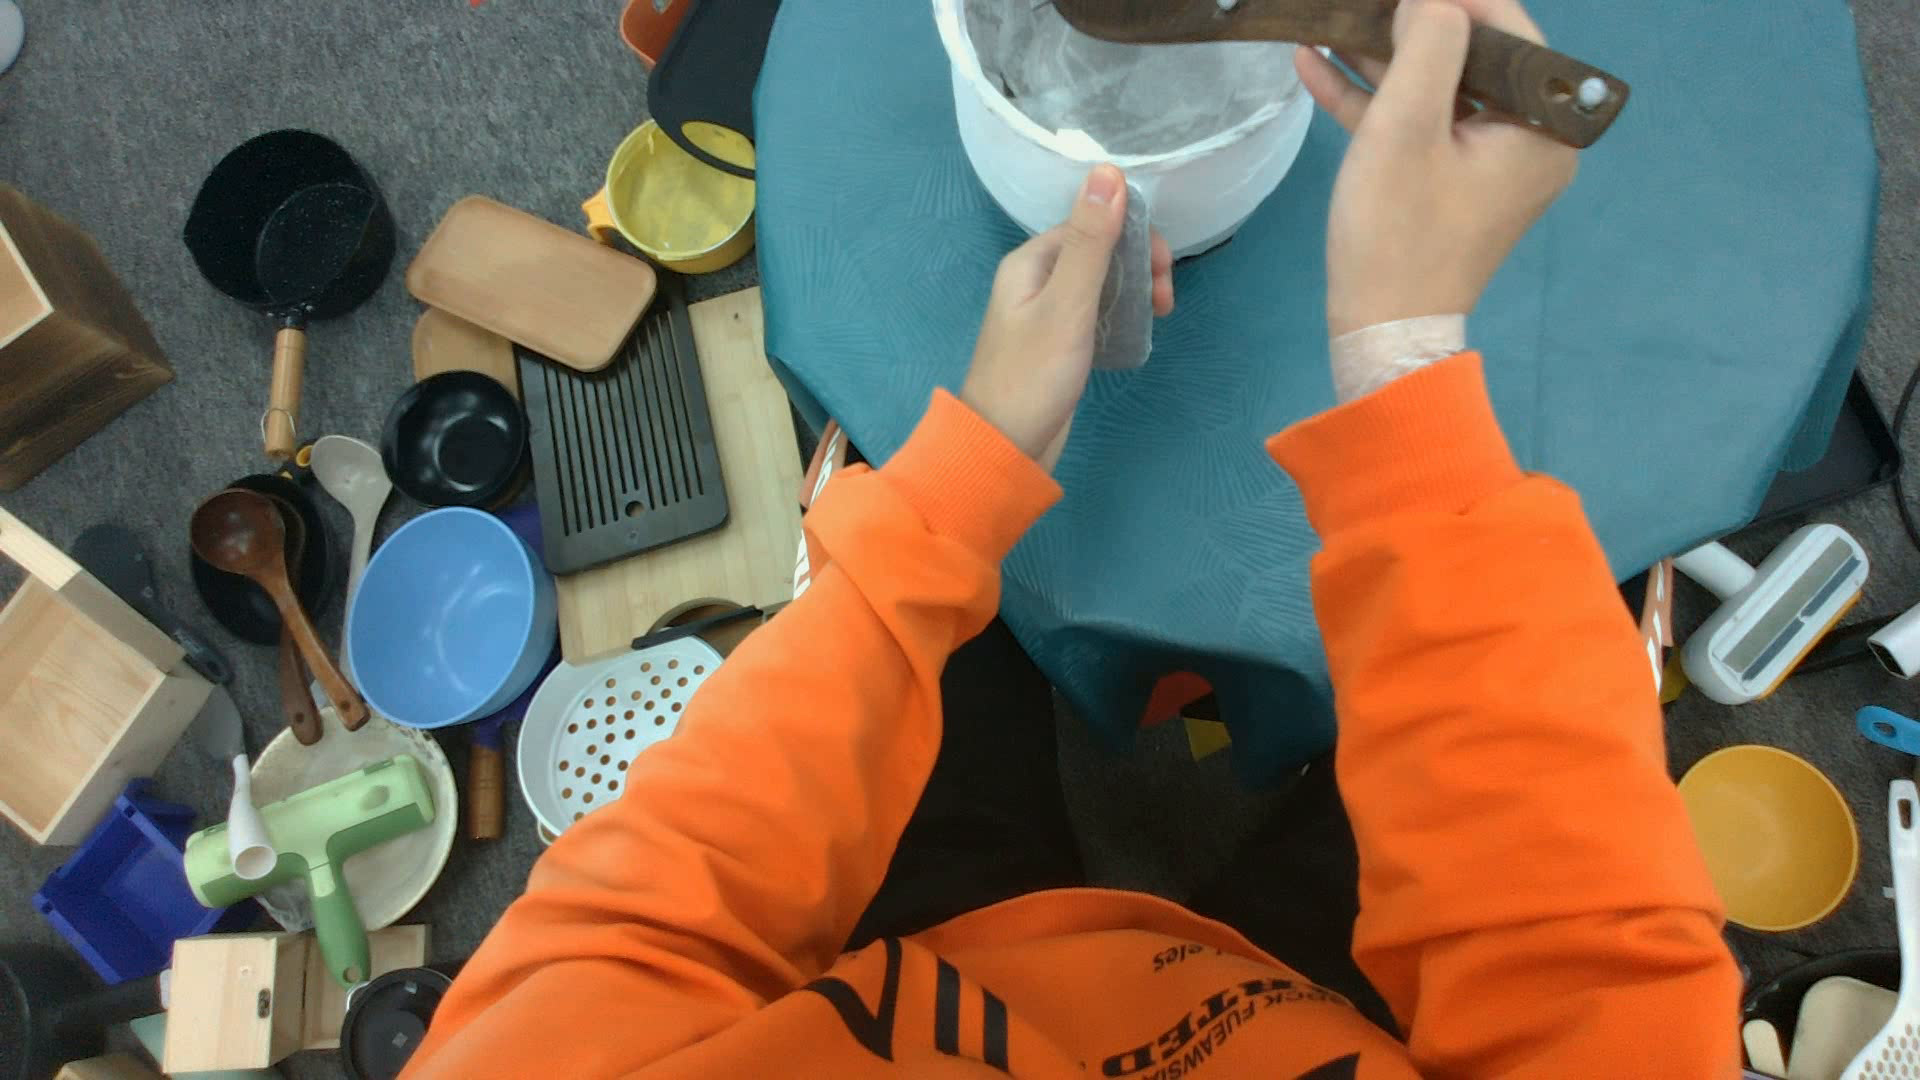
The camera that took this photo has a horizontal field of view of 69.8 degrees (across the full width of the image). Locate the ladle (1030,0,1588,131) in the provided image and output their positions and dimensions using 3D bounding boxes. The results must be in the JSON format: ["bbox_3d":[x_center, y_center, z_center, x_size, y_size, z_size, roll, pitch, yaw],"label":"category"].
[{"bbox_3d":[0.114,-0.212,0.530,0.076,0.071,0.274,-53,38,5],"label":"ladle"}]

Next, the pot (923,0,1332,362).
[{"bbox_3d":[0.075,-0.208,0.647,0.178,0.136,0.234,2,81,5],"label":"pot"}]
